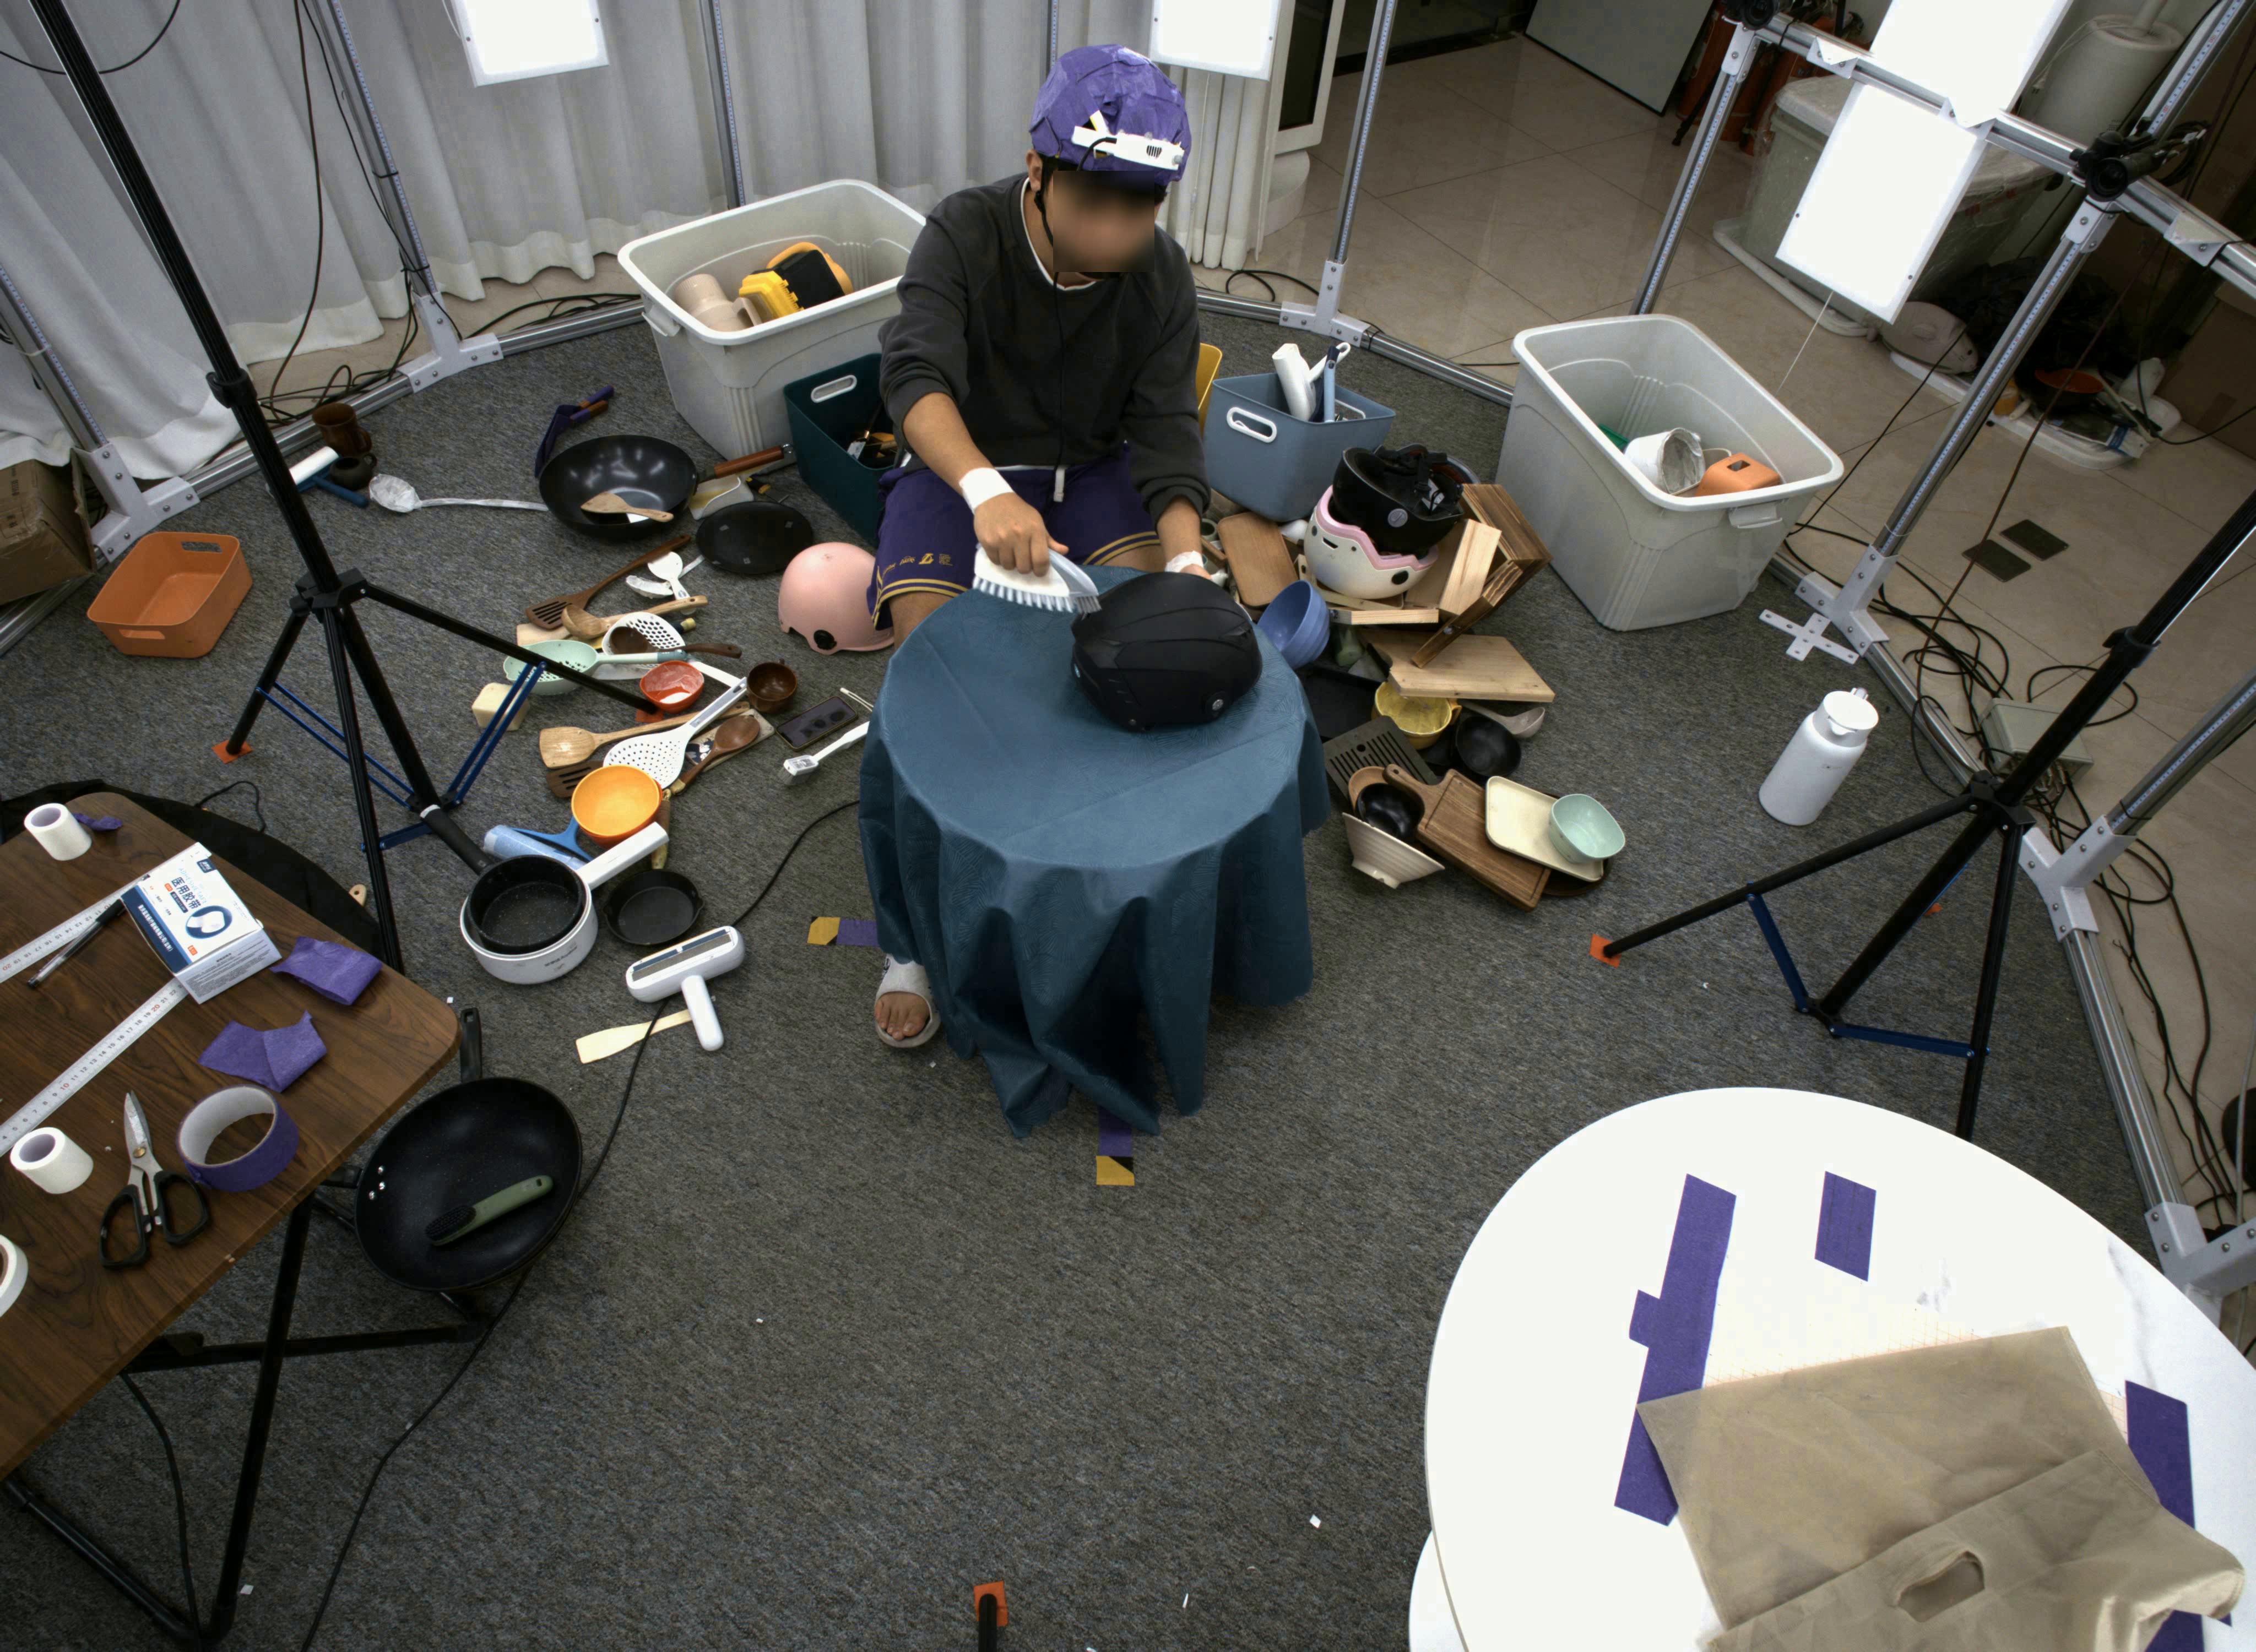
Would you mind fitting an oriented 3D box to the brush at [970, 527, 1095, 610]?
[{"bbox_3d":[-0.123,-0.341,1.684,0.176,0.092,0.062,21,60,12],"label":"brush"}]

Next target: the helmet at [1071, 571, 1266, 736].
[{"bbox_3d":[0.055,-0.262,1.795,0.277,0.168,0.252,-16,53,-12],"label":"helmet"}]
